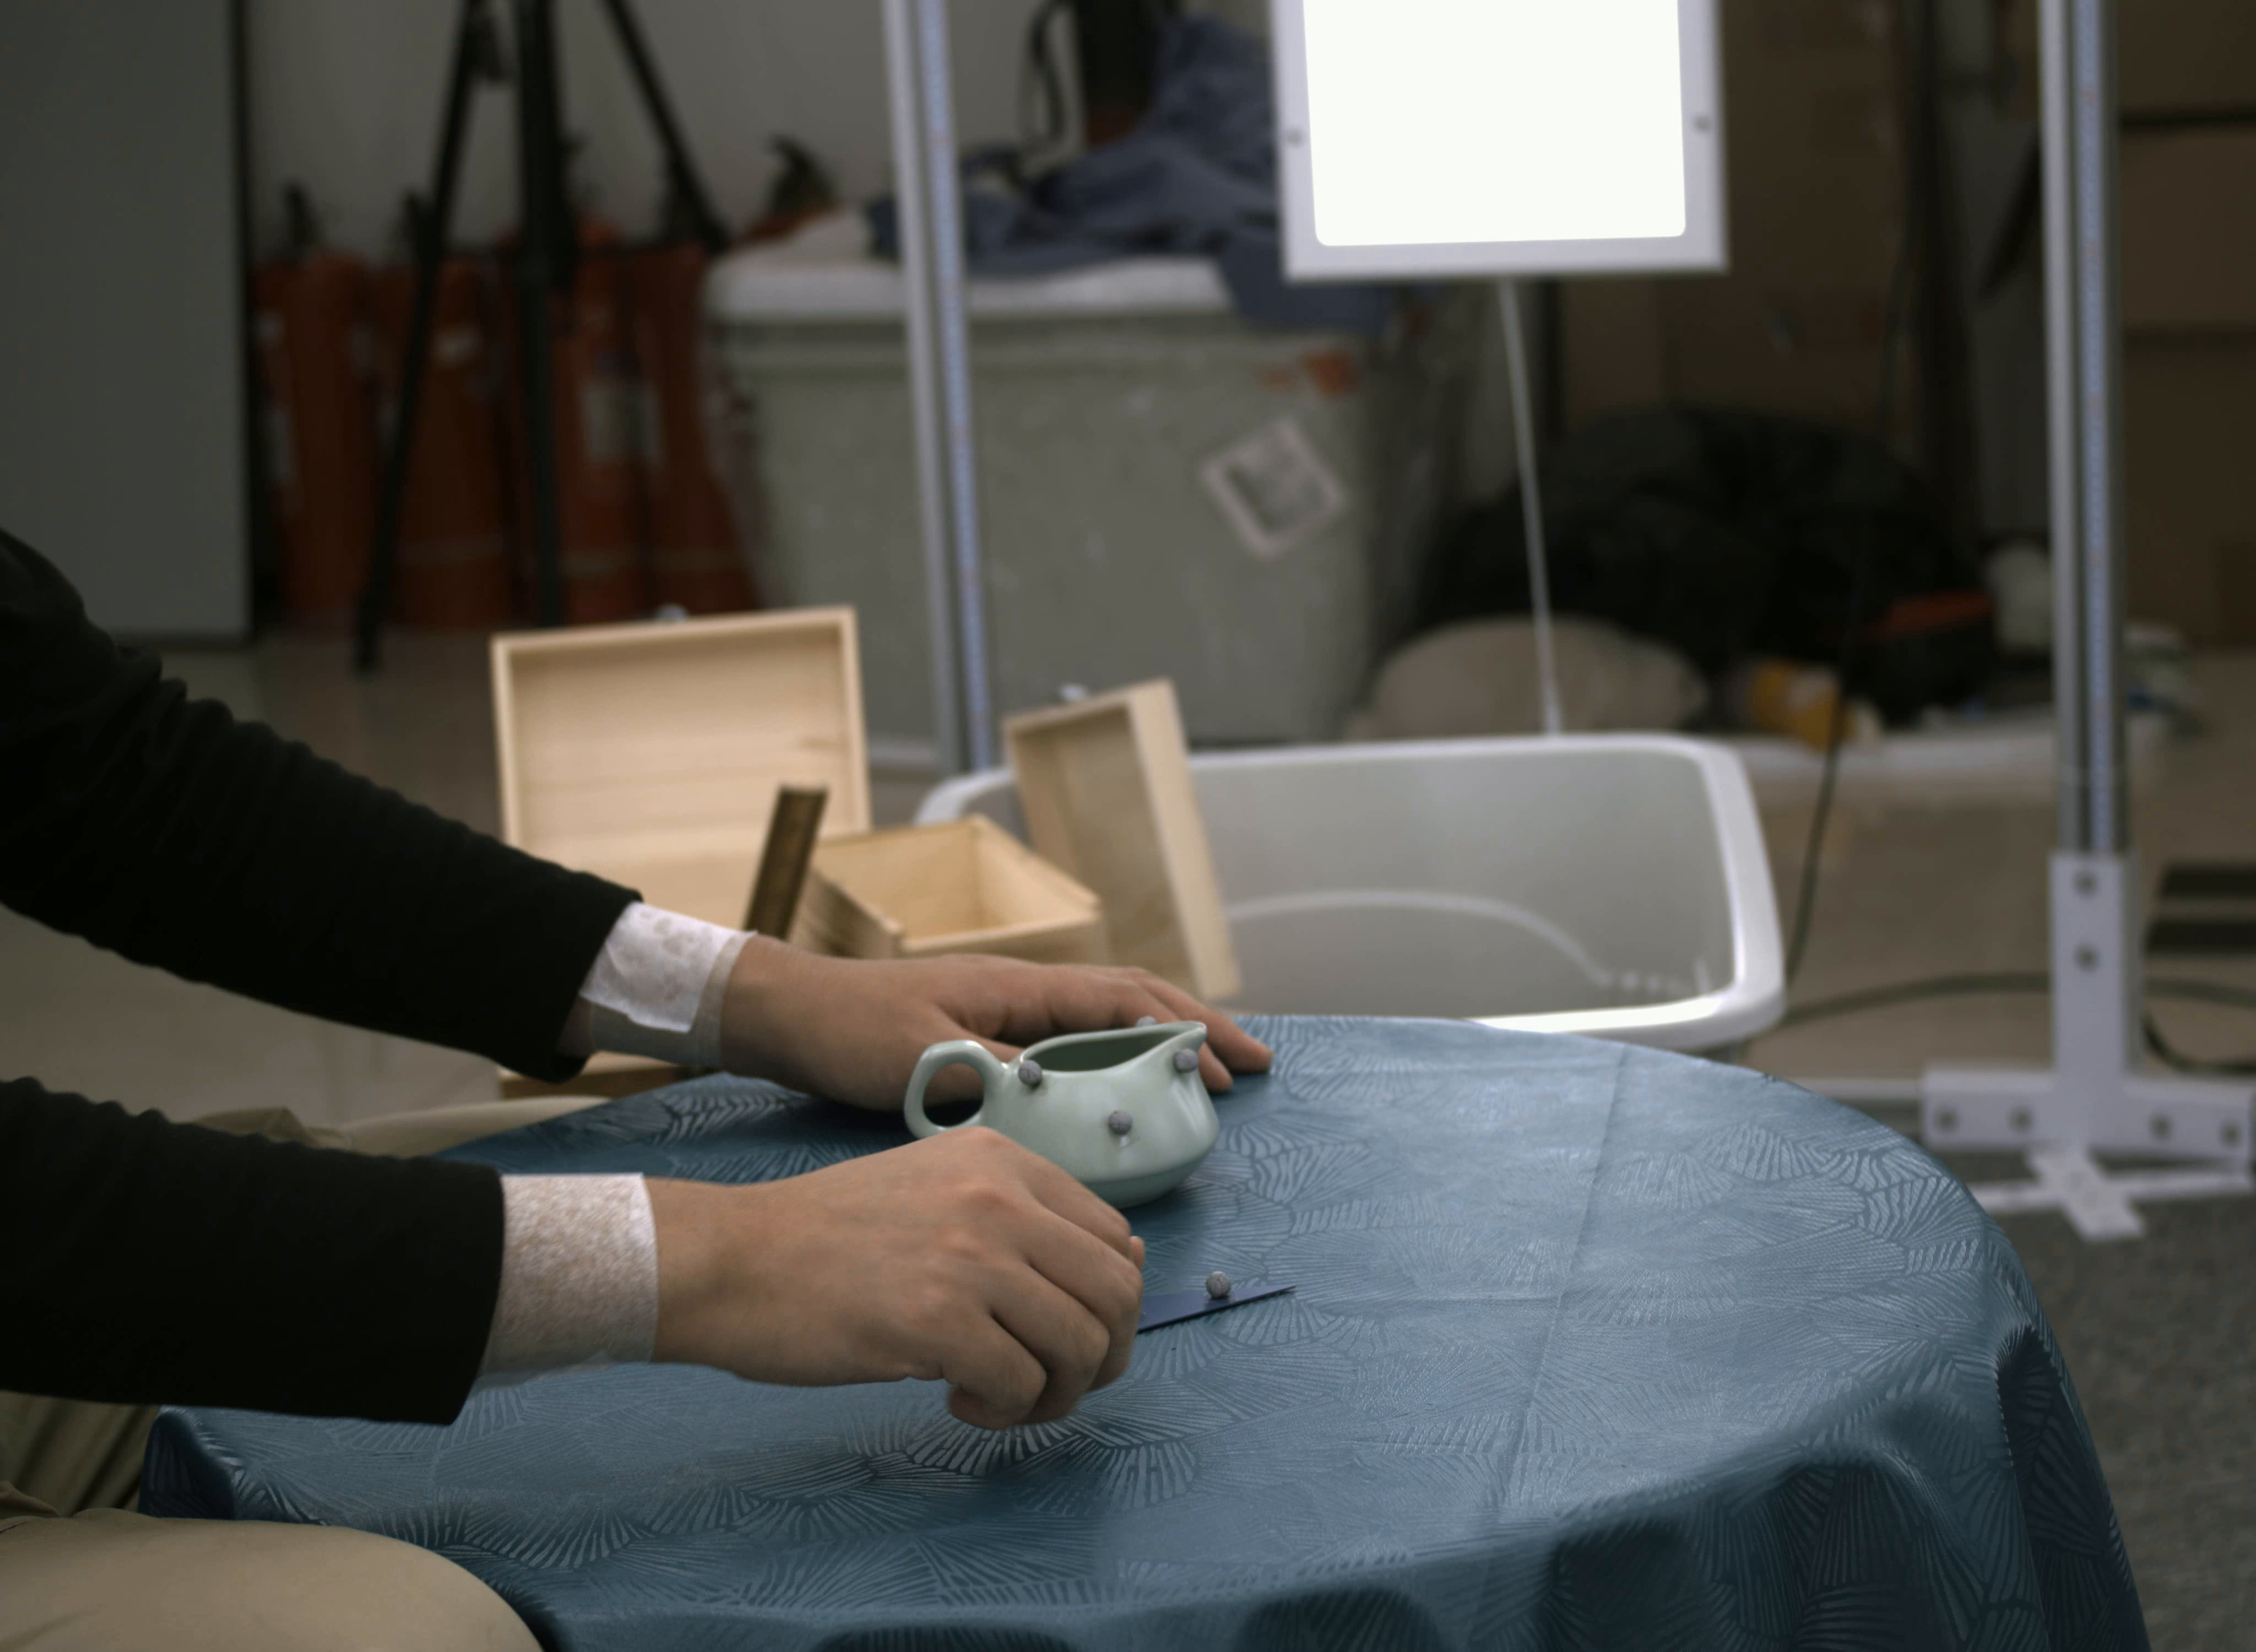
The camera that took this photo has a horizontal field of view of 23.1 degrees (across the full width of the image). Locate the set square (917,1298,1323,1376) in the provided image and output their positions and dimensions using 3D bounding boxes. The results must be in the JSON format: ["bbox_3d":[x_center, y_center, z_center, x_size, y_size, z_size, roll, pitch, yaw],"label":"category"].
[{"bbox_3d":[-0.003,0.161,1.749,0.132,0.006,0.061,-4,13,5],"label":"set square"}]

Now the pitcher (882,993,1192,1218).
[{"bbox_3d":[-0.034,0.095,1.896,0.108,0.061,0.085,14,26,6],"label":"pitcher"}]
